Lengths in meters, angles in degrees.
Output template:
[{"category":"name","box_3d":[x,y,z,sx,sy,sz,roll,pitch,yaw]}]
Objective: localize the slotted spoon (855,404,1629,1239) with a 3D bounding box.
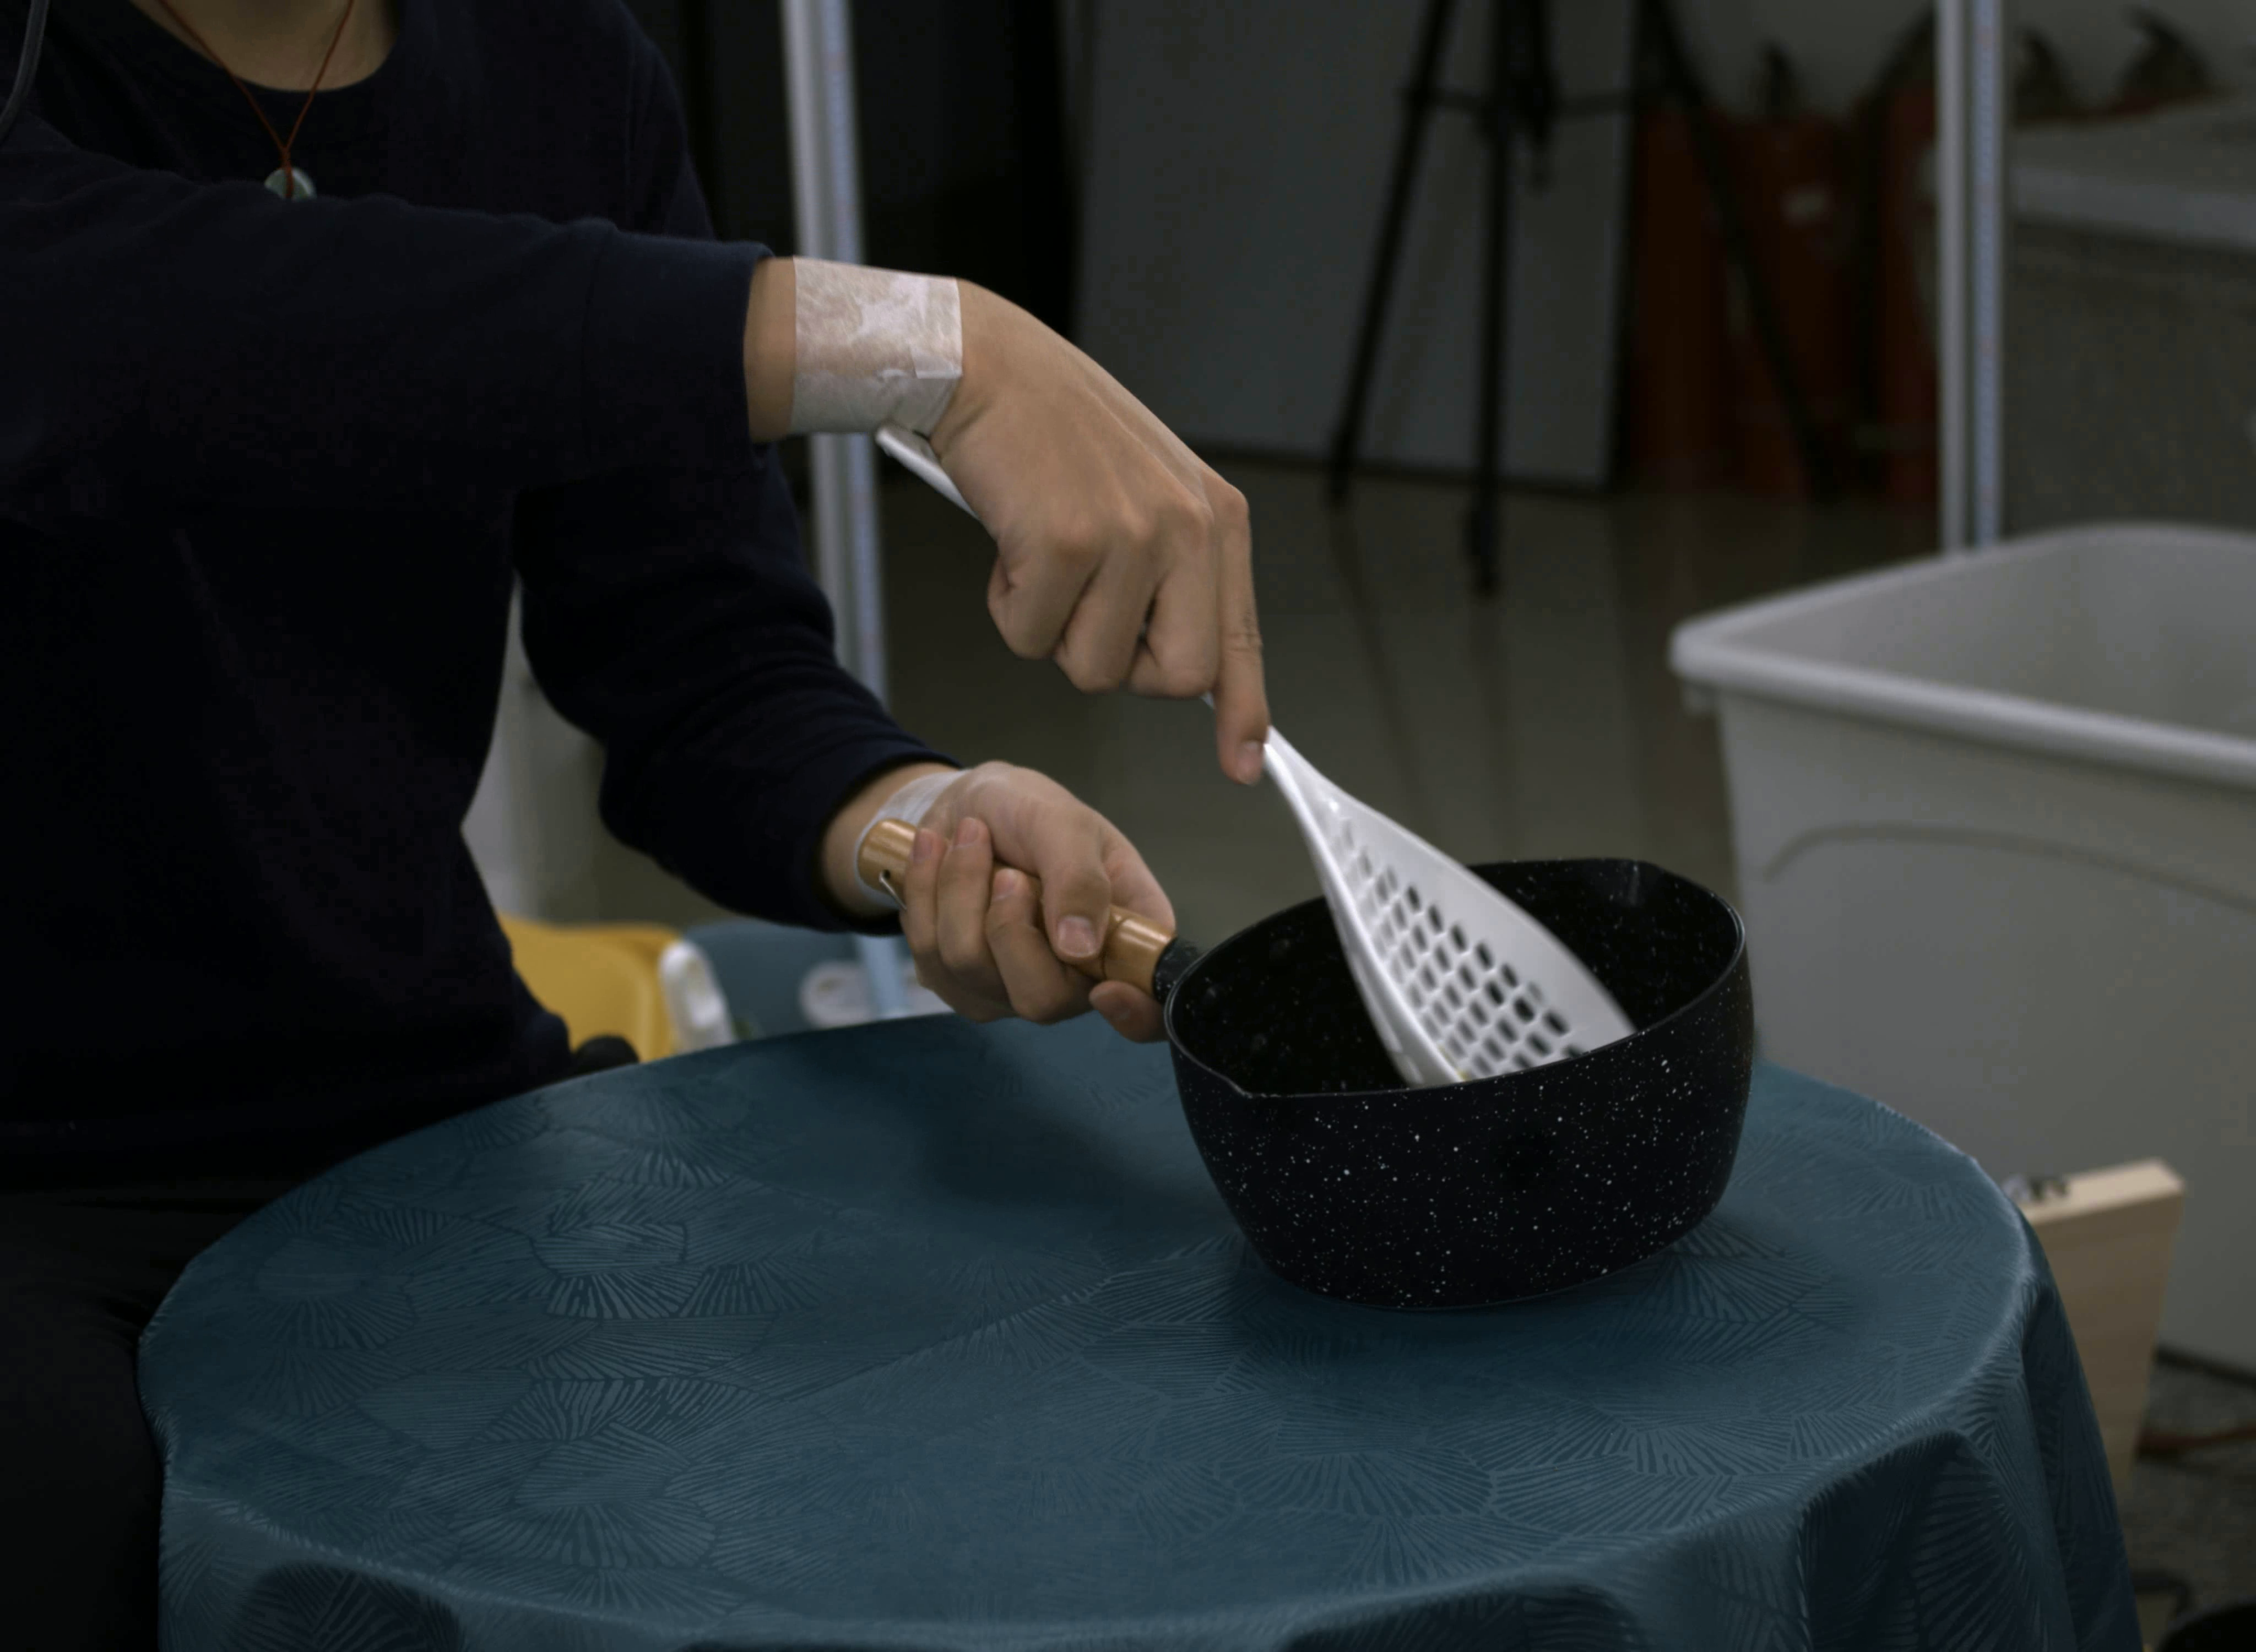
[{"category":"slotted spoon","box_3d":[0.043,-0.006,1.648,0.050,0.347,0.136,-33,13,22]}]

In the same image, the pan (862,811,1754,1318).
[{"category":"pan","box_3d":[0.046,0.065,1.732,0.345,0.109,0.204,7,27,41]}]
